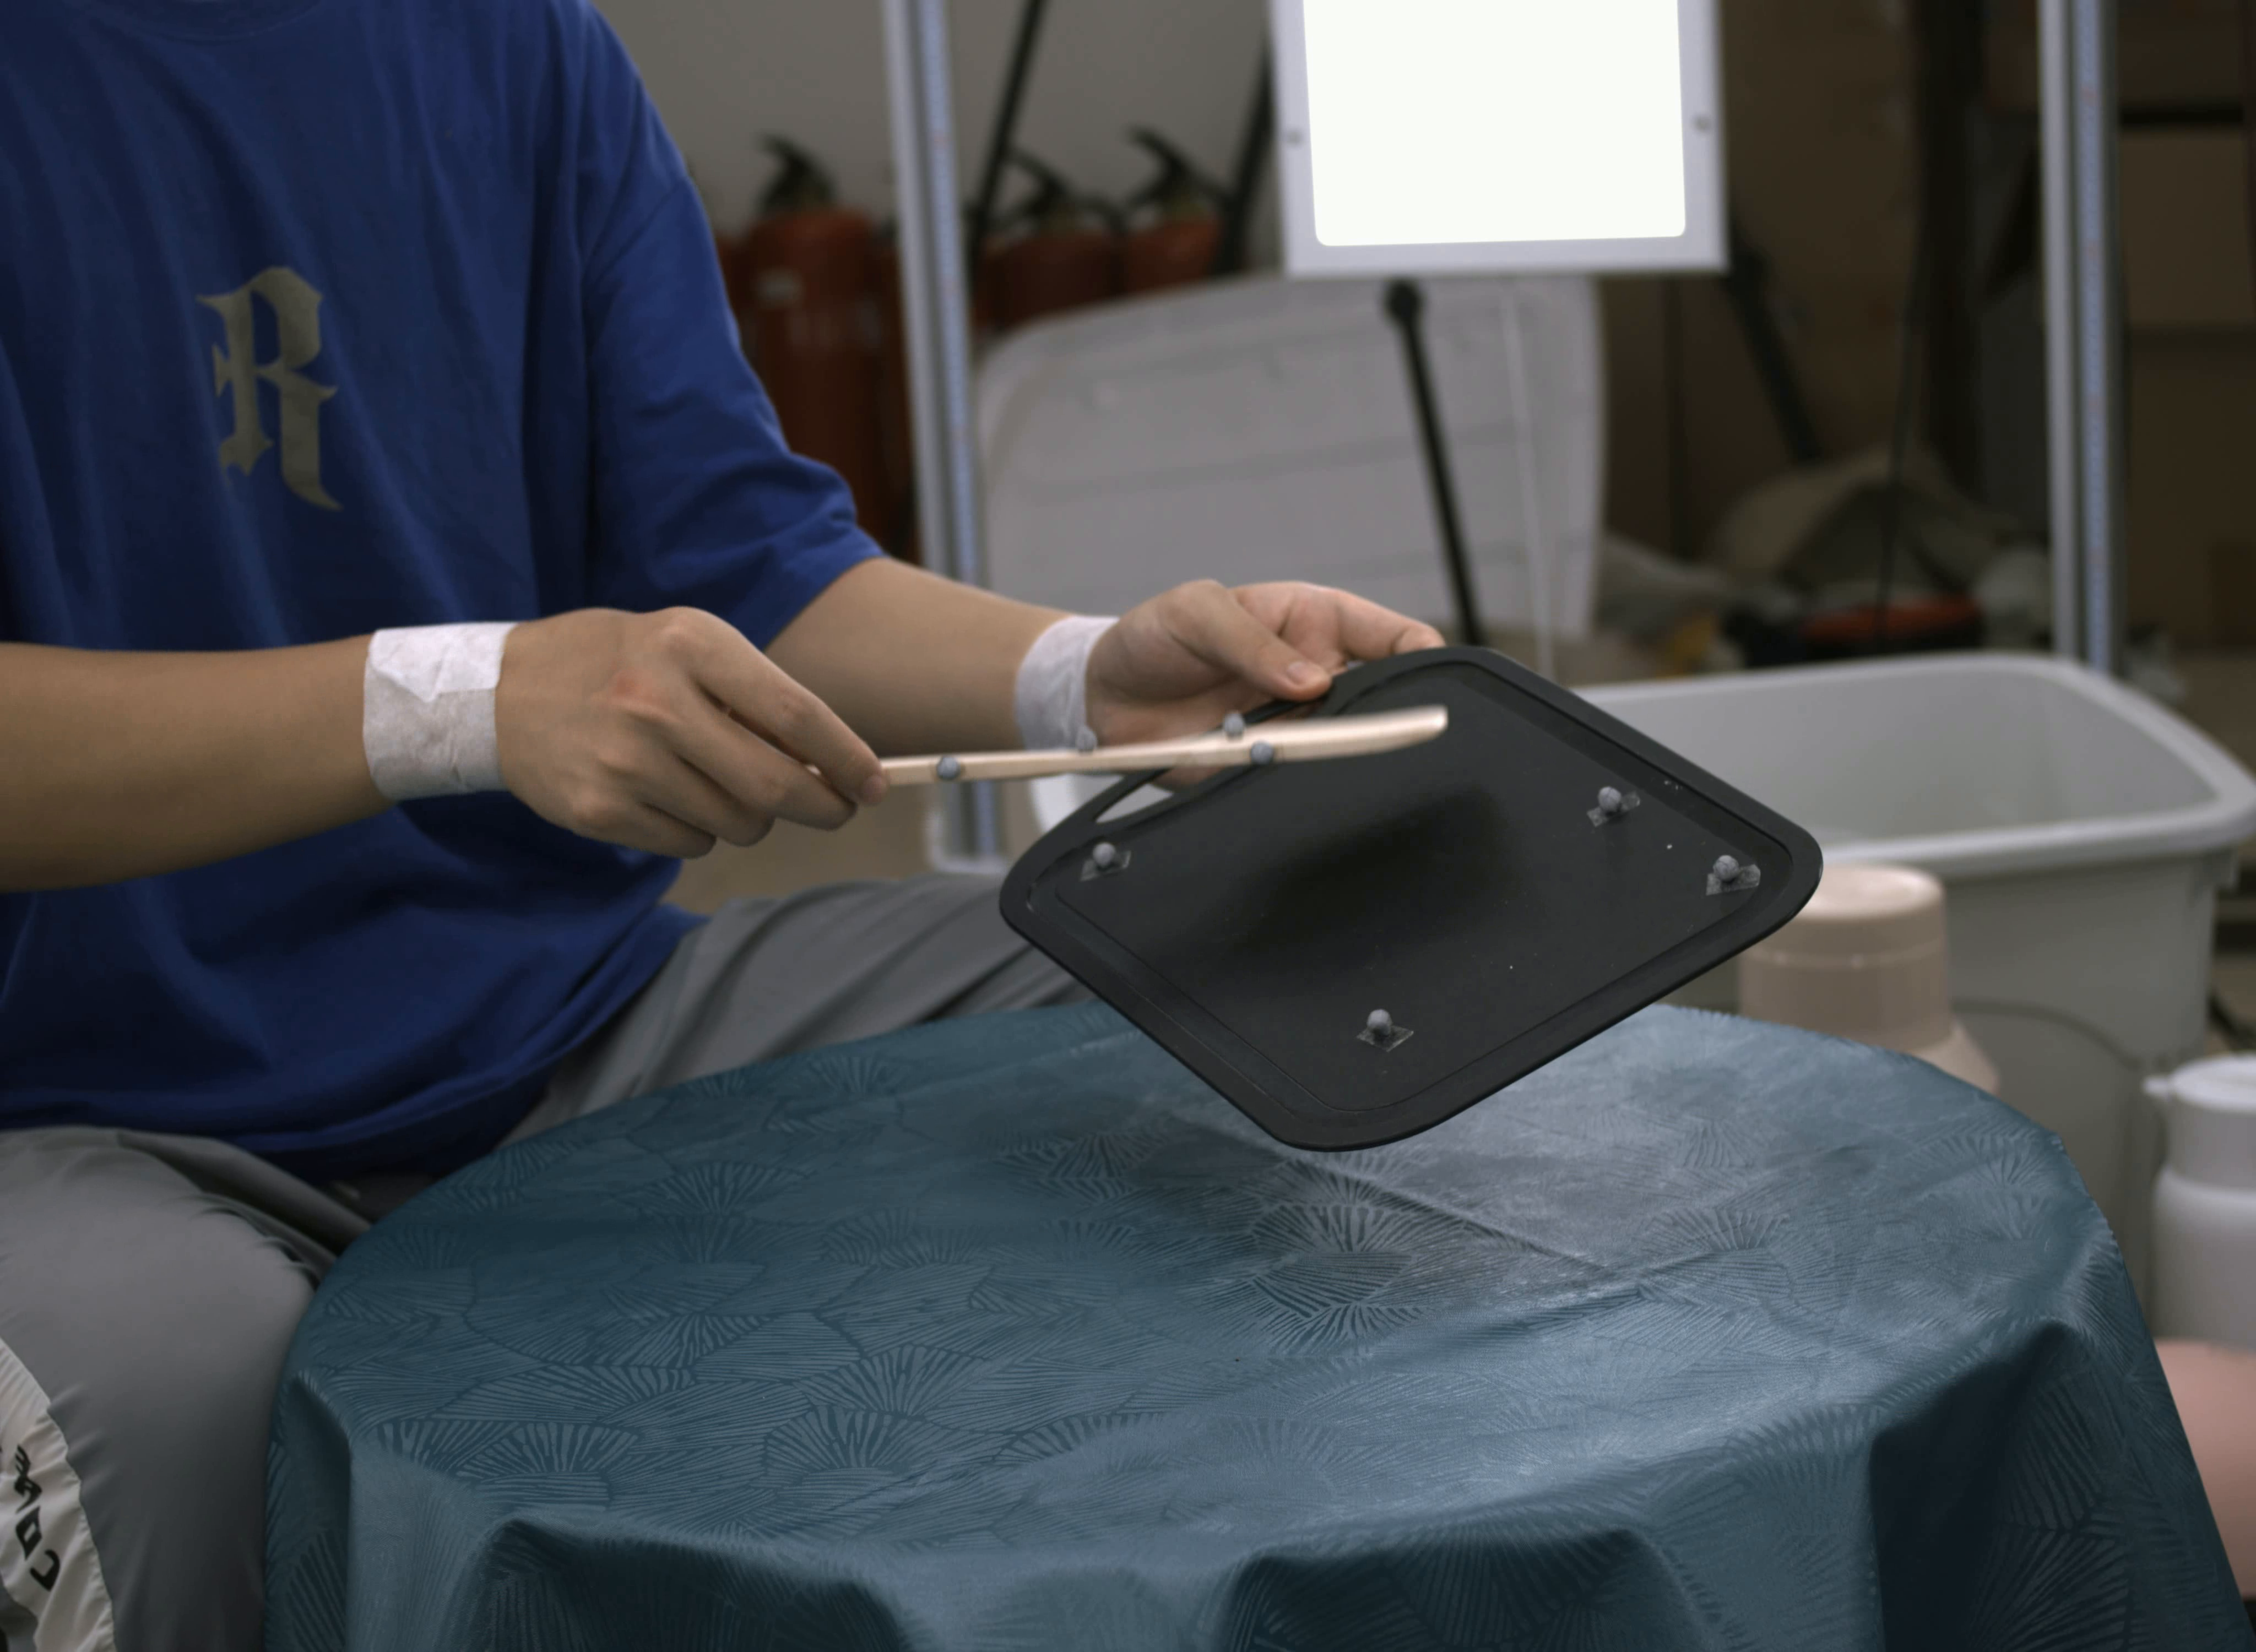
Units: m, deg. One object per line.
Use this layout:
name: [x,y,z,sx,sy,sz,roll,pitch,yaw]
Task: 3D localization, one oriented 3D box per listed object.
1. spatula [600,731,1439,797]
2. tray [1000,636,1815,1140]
spatula: [-0.039,-0.020,1.904,0.294,0.011,0.072,-3,3,8]
tray: [0.085,0.012,1.889,0.209,0.010,0.329,-29,27,-12]
